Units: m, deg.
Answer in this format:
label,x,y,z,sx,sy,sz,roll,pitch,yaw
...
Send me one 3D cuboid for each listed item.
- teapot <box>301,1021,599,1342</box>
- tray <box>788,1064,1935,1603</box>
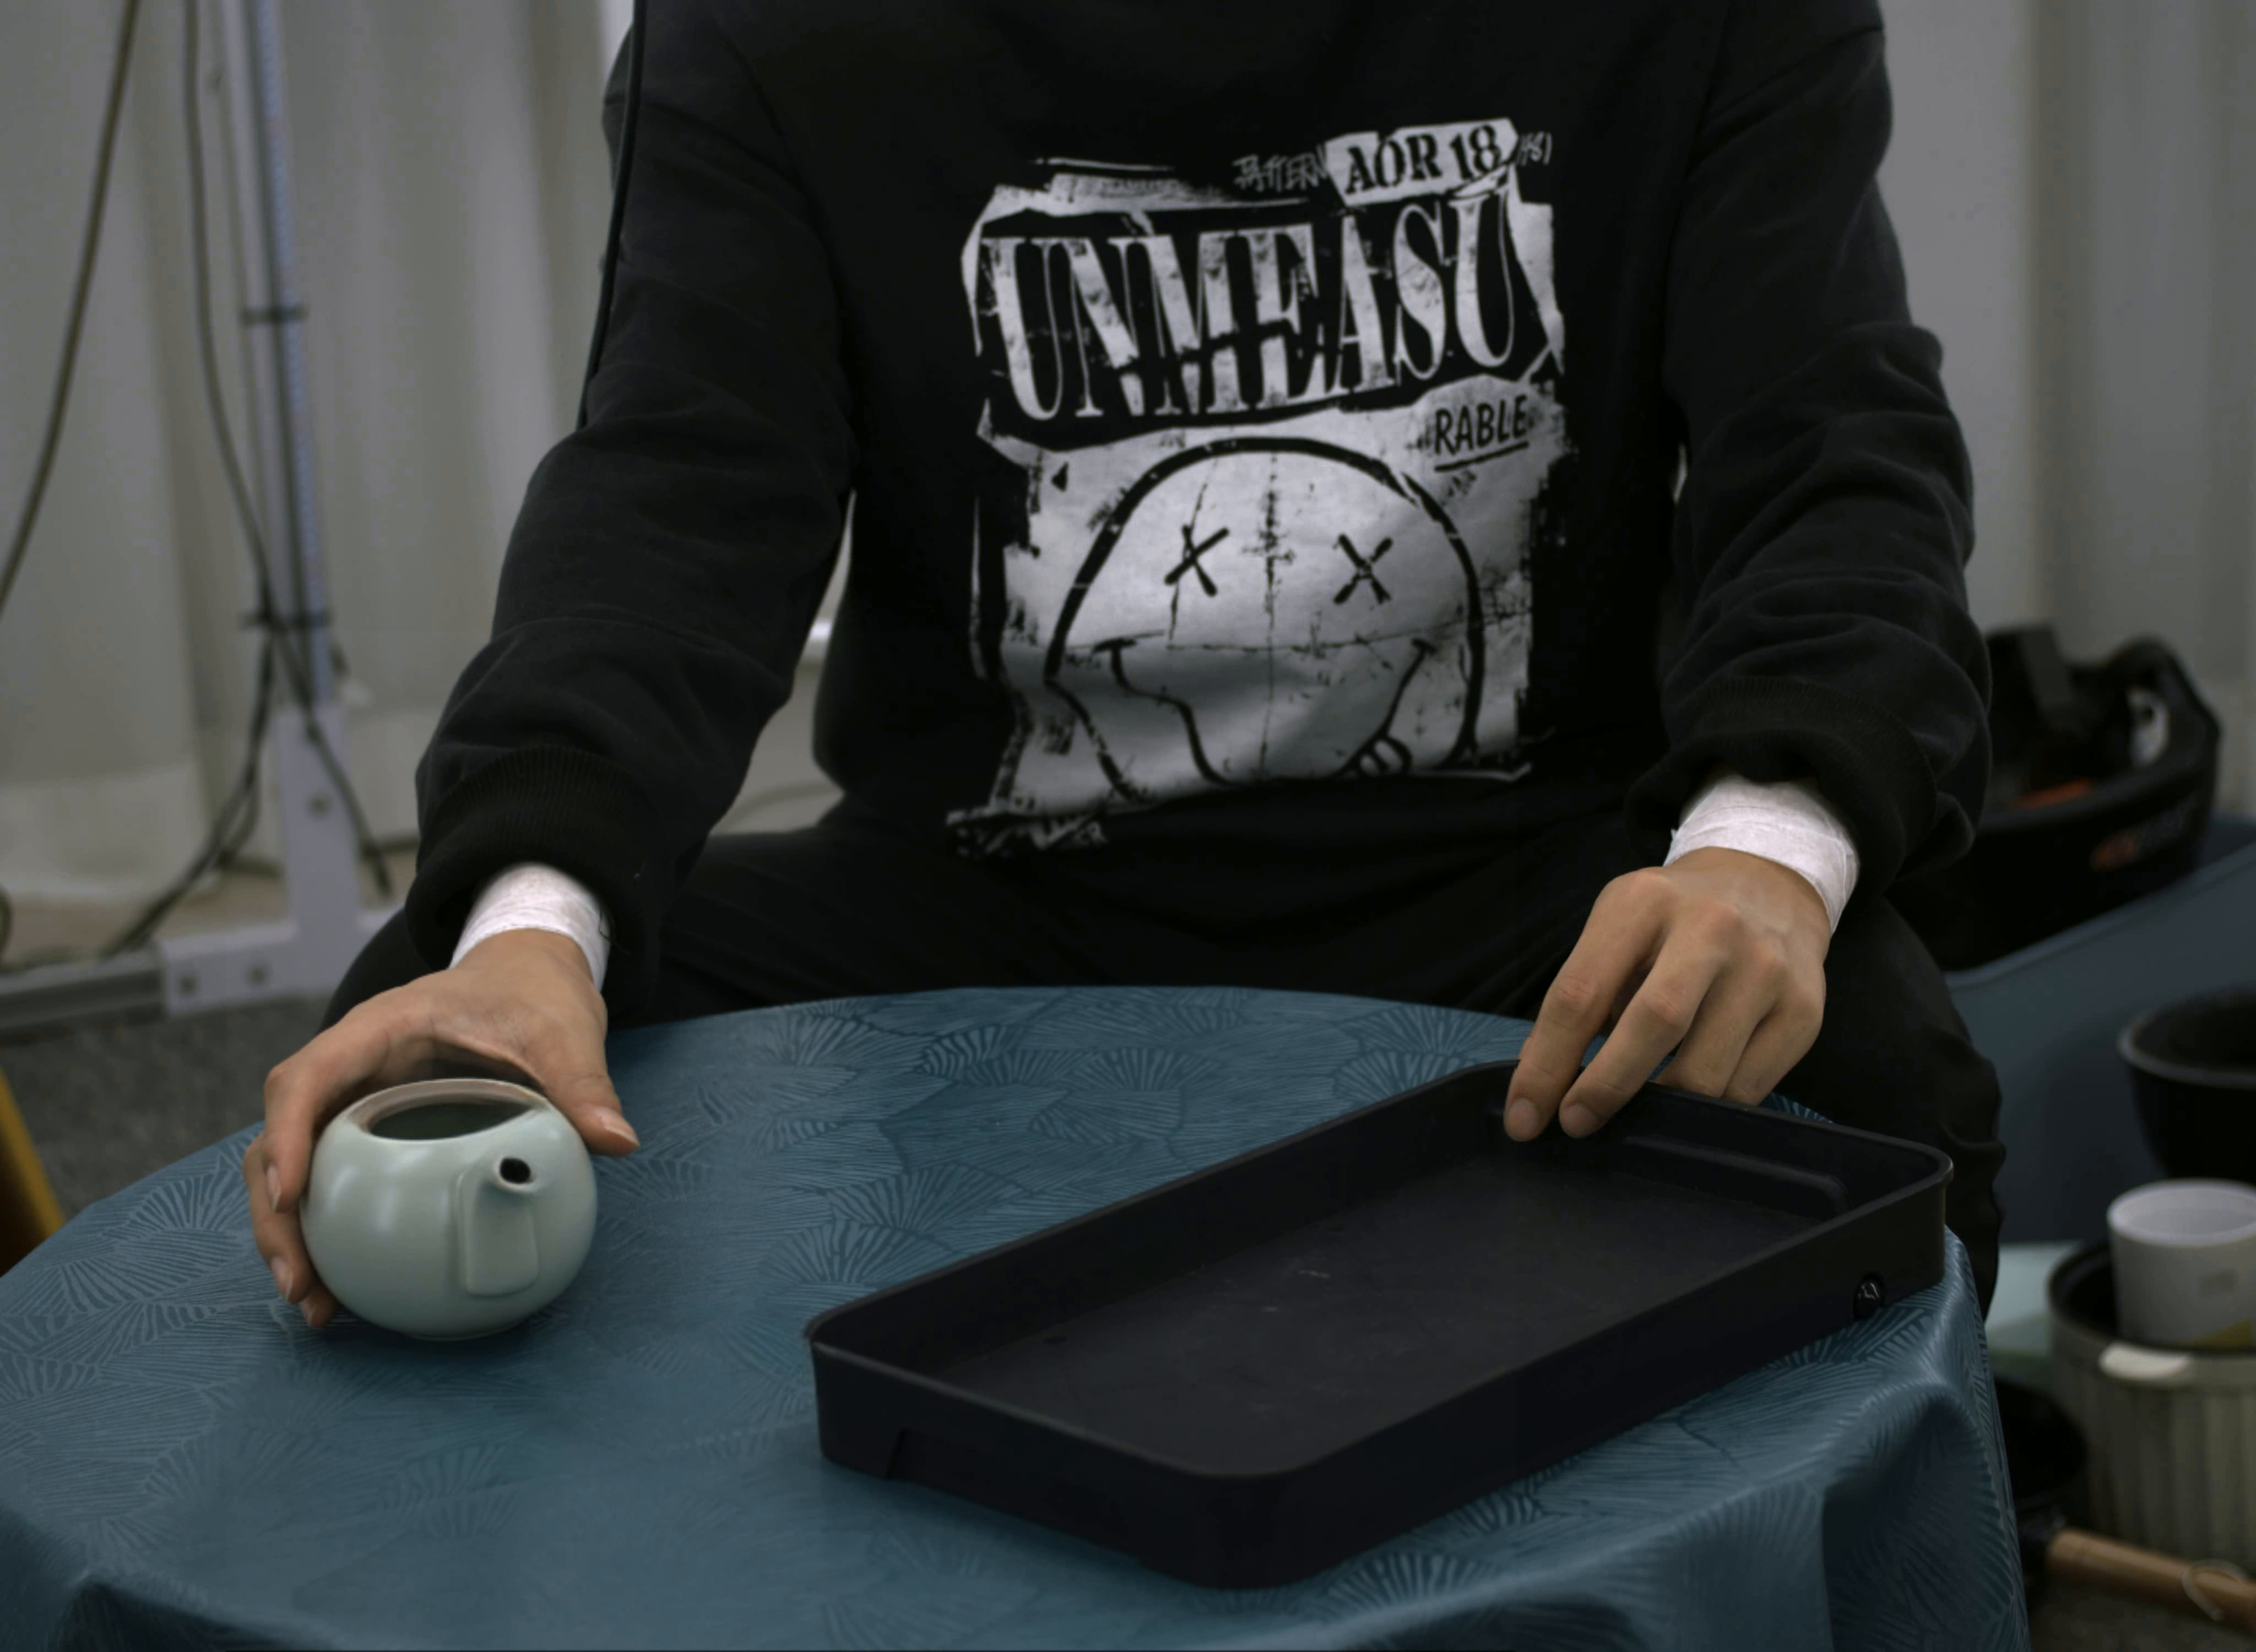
label,x,y,z,sx,sy,sz,roll,pitch,yaw
teapot,-0.201,0.111,1.622,0.088,0.074,0.145,-9,19,-22
tray,0.071,0.136,1.550,0.185,0.037,0.317,11,20,41
